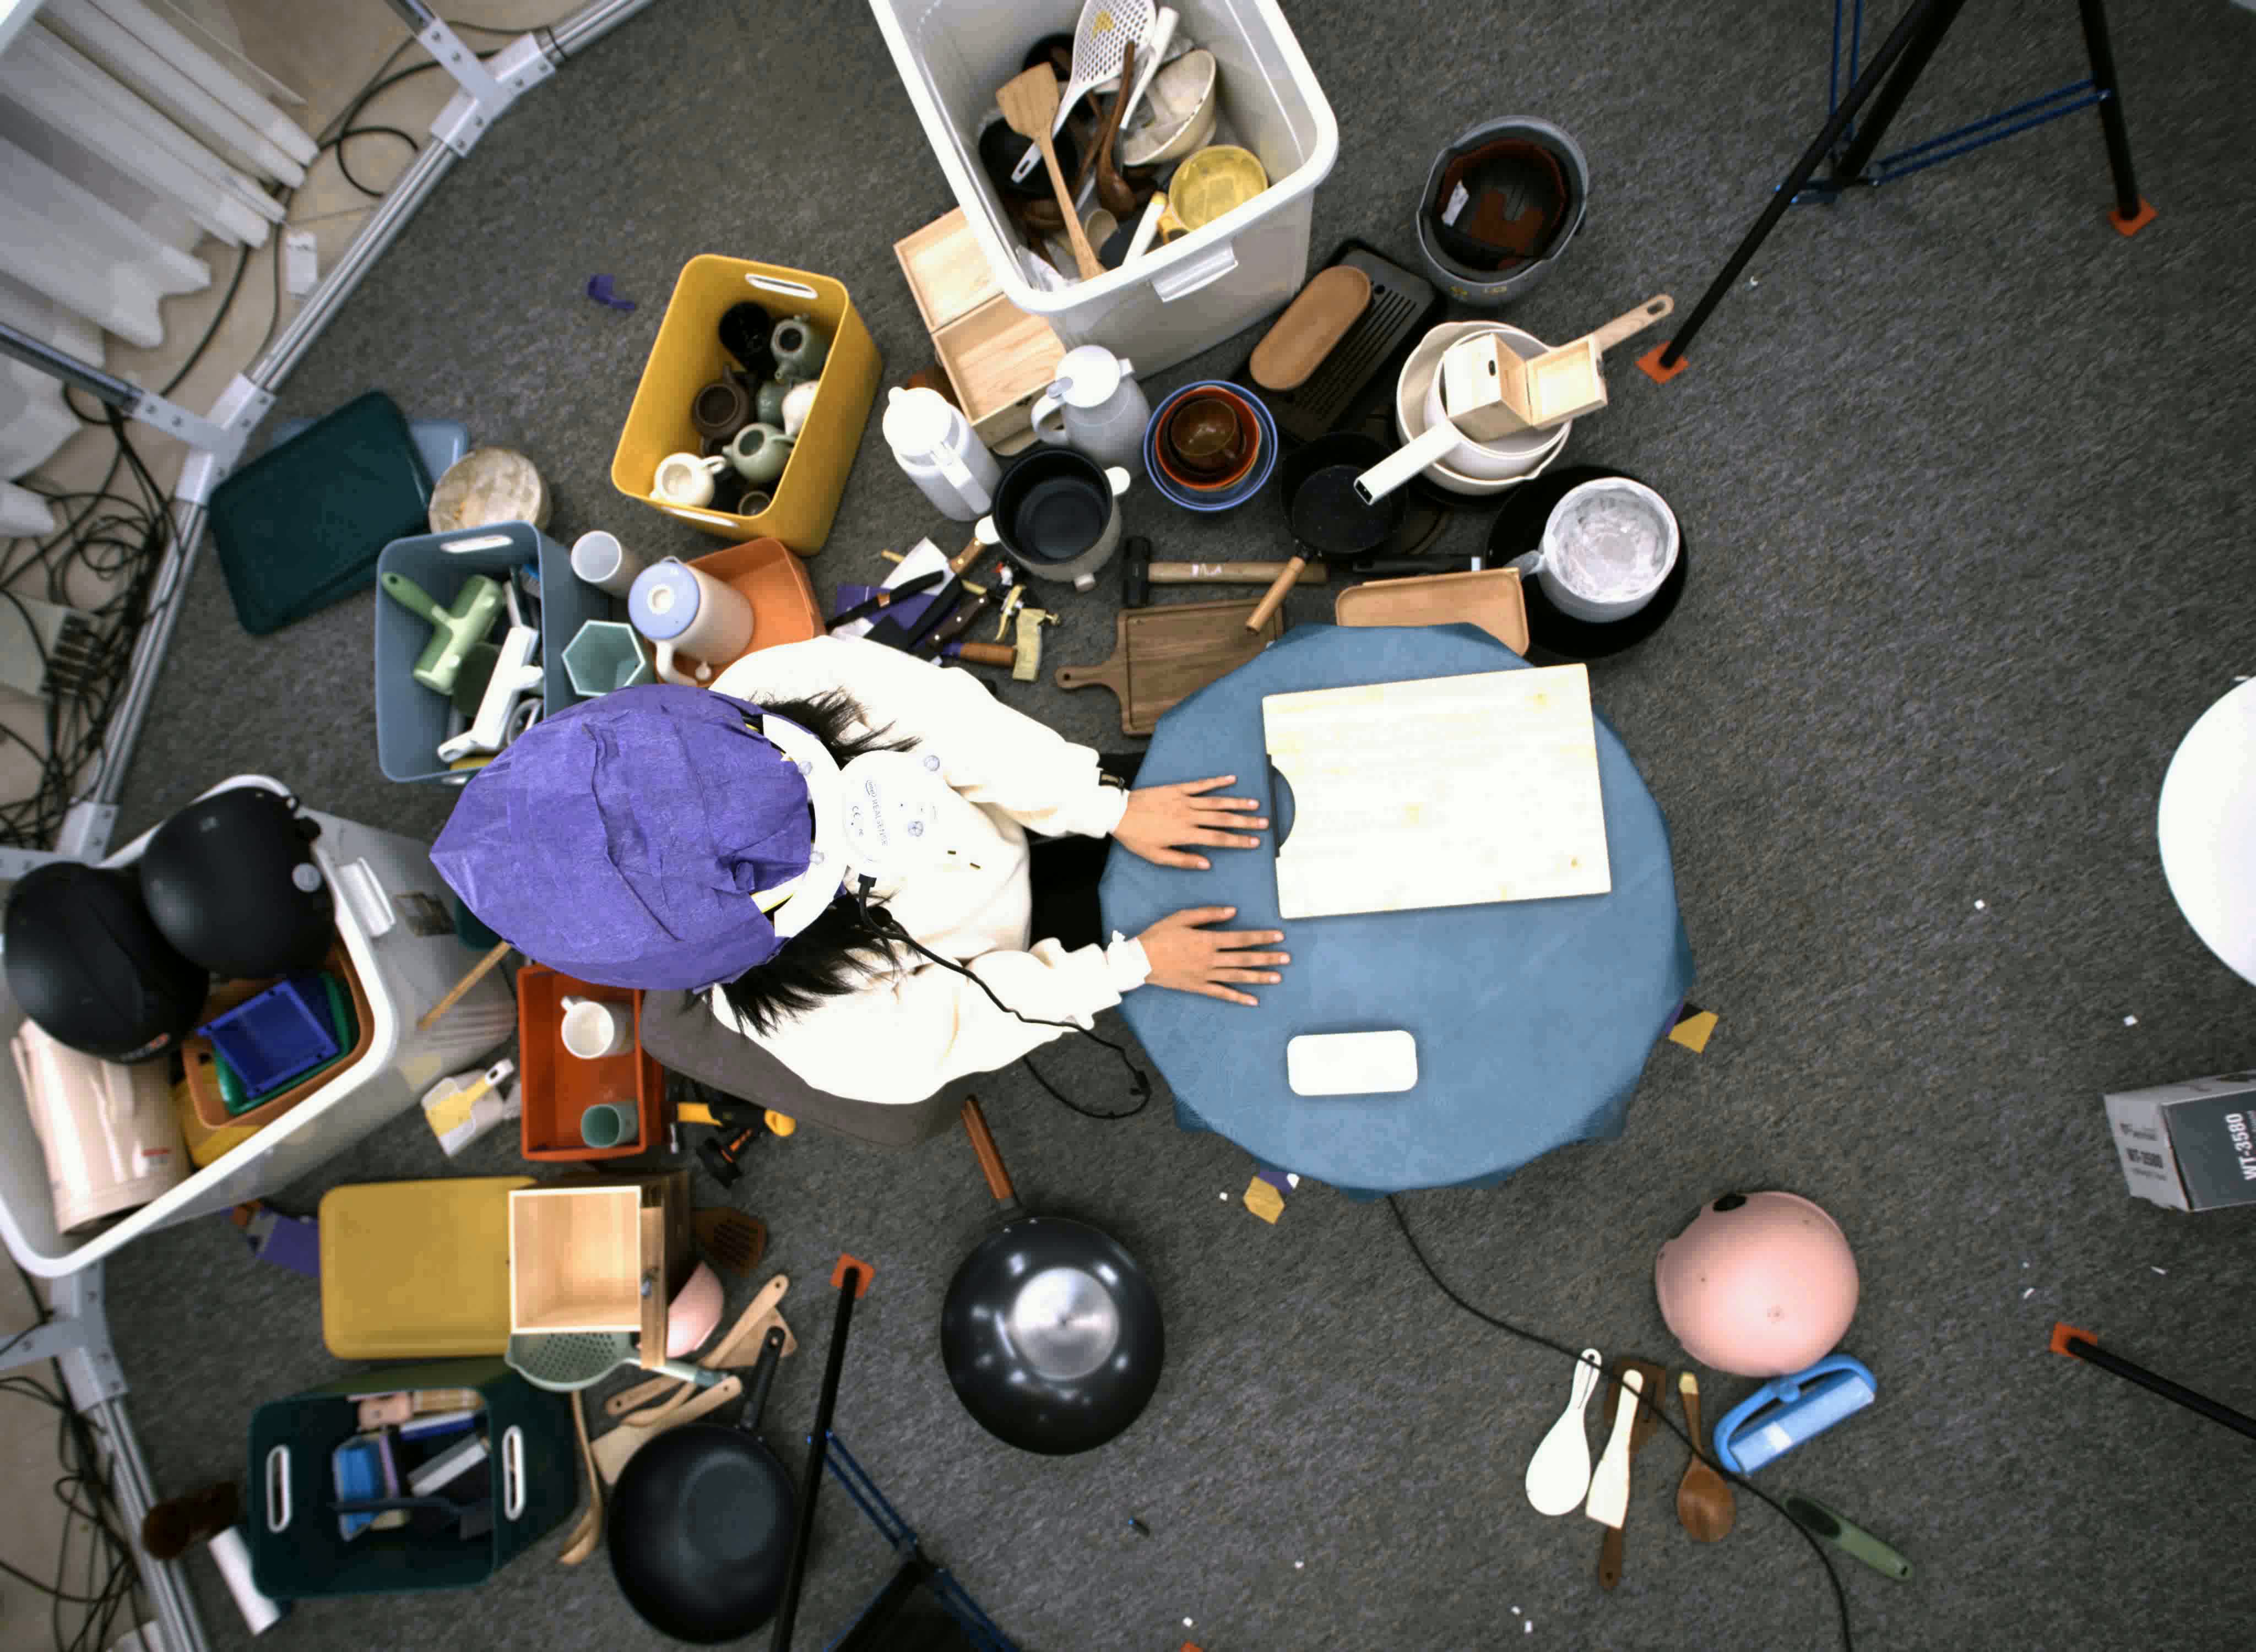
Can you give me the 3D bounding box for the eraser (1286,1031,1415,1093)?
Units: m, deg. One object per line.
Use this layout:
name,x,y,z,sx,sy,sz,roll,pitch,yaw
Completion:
eraser,0.232,0.243,1.442,0.132,0.034,0.063,-3,86,10

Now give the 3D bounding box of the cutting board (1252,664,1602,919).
cutting board,0.314,-0.037,1.450,0.350,0.023,0.249,-6,86,10
